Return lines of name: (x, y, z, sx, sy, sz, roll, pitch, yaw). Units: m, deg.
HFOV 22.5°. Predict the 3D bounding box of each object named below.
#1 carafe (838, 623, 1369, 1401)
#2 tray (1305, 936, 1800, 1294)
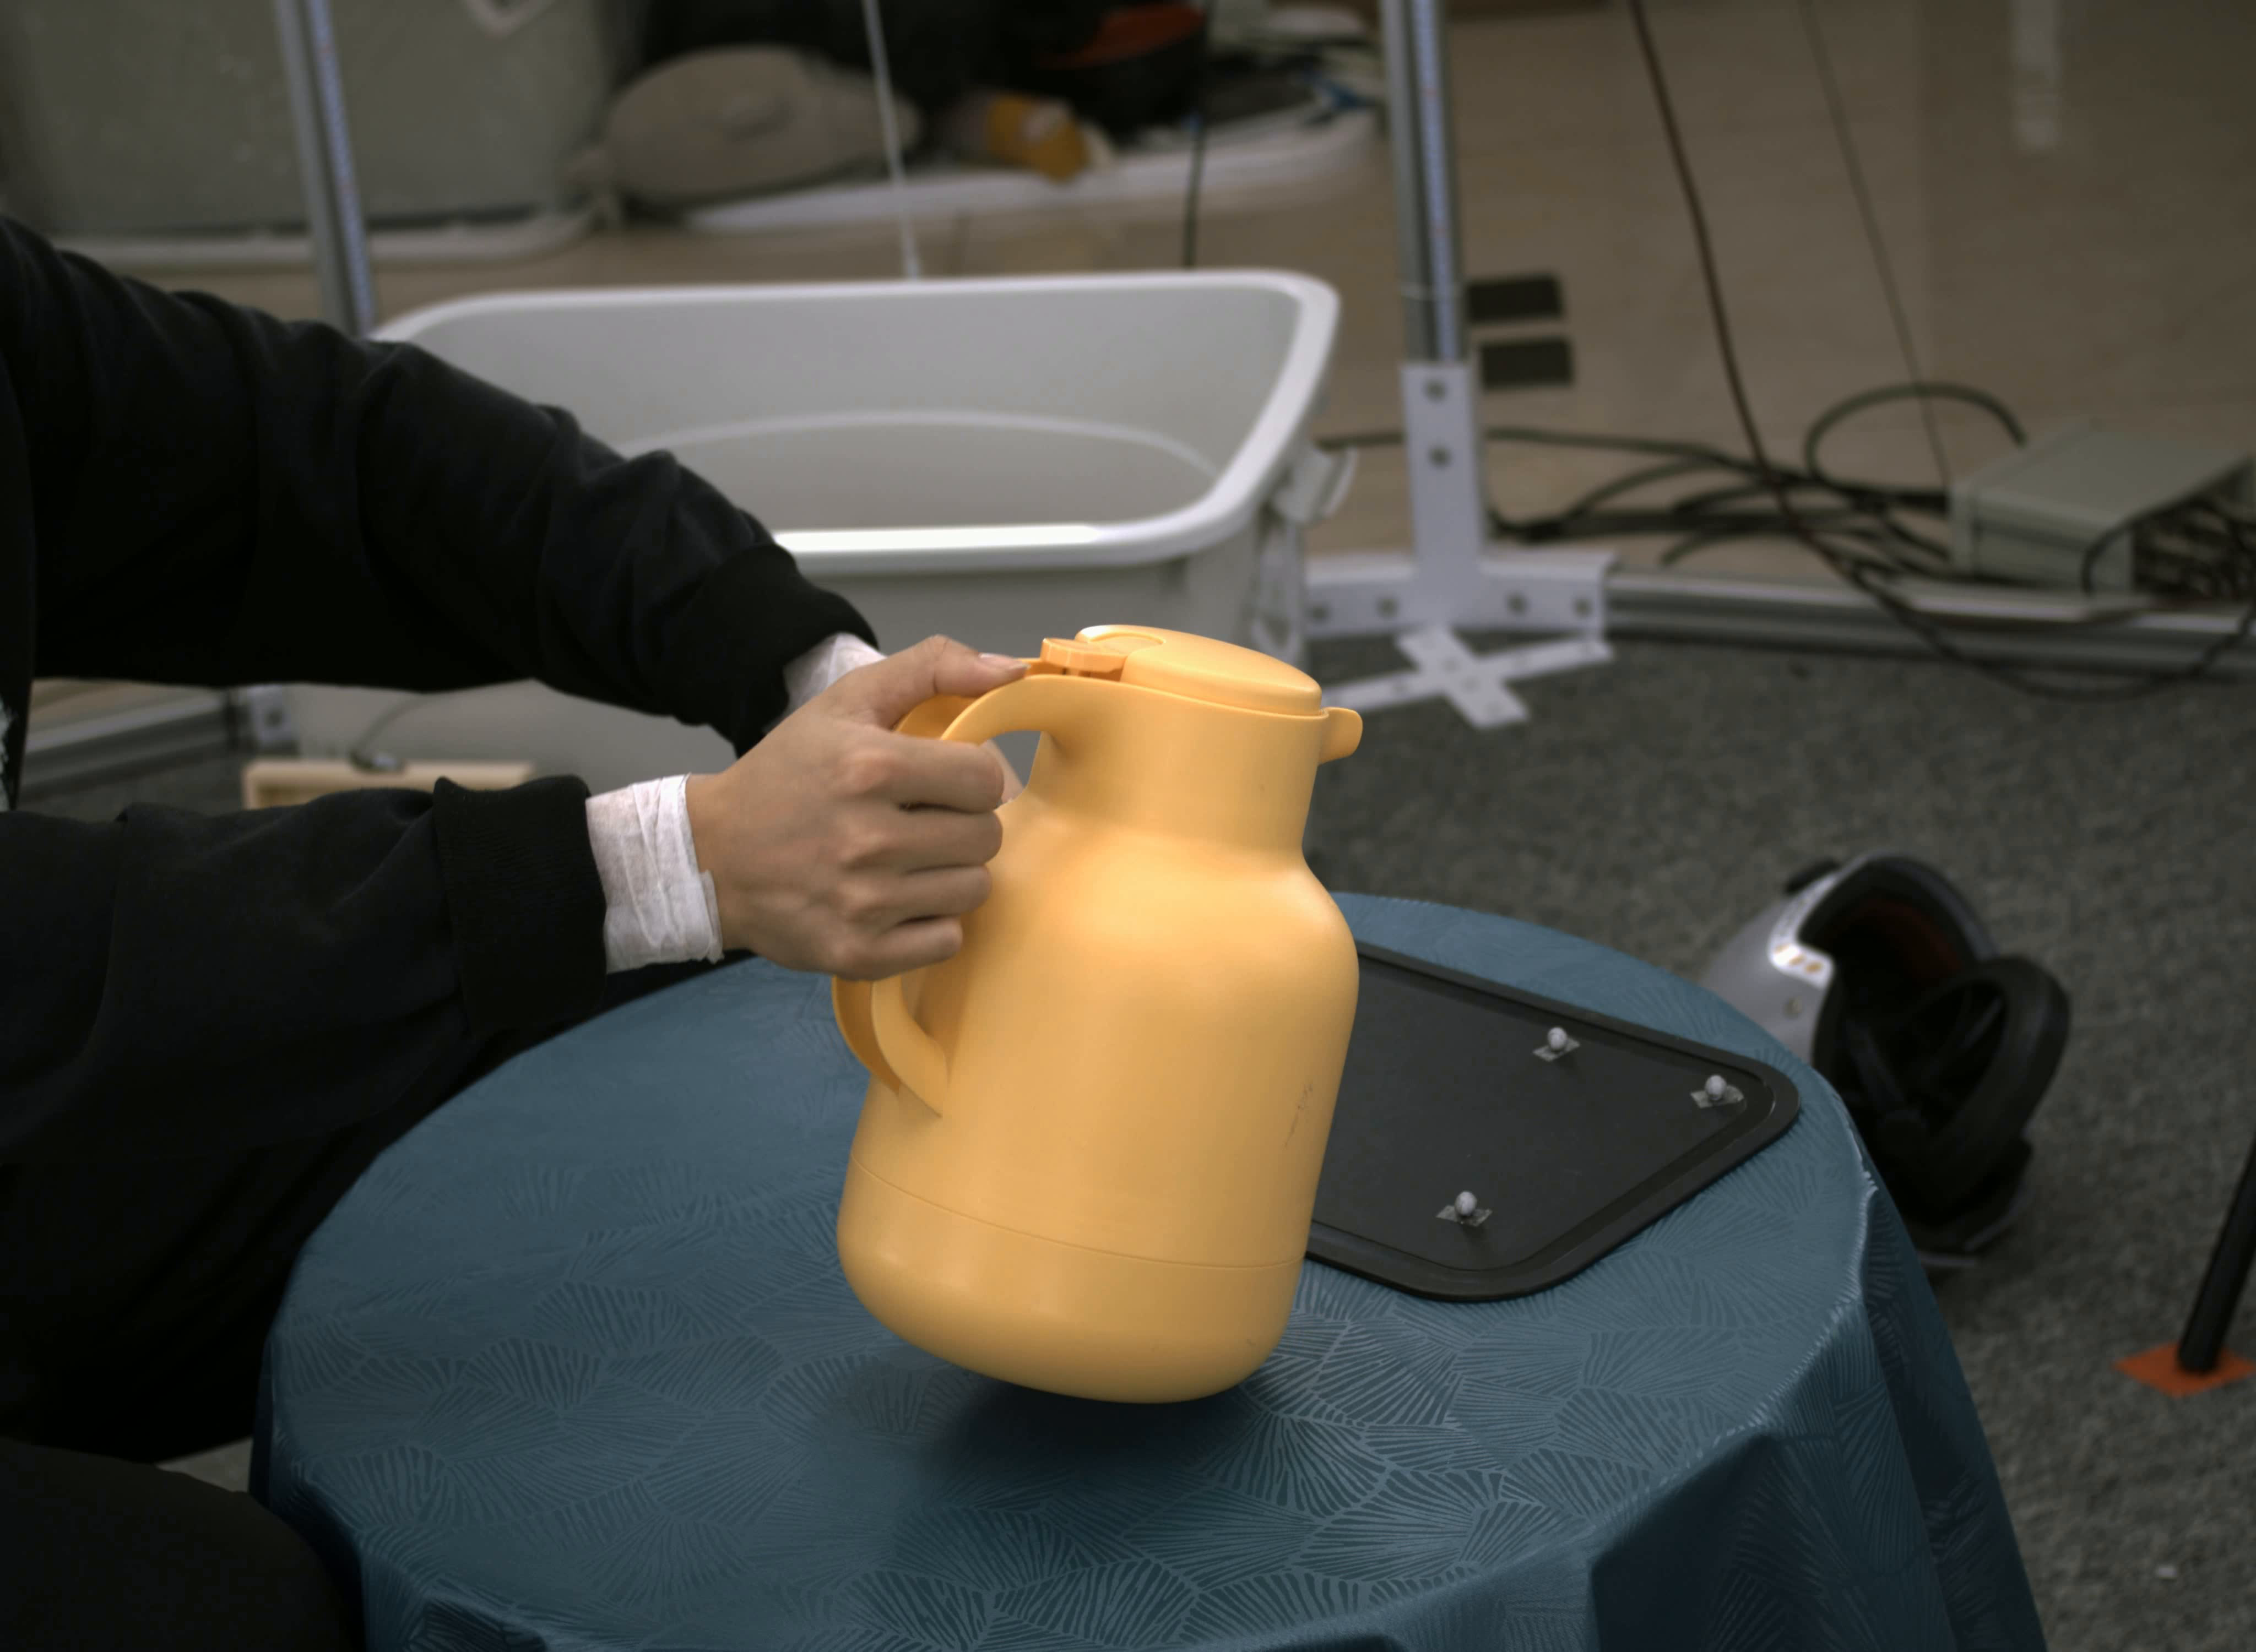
carafe: (-0.016, 0.059, 1.965, 0.202, 0.262, 0.162, 6, 9, -37)
tray: (0.085, 0.103, 2.198, 0.323, 0.010, 0.209, 17, 33, 41)
